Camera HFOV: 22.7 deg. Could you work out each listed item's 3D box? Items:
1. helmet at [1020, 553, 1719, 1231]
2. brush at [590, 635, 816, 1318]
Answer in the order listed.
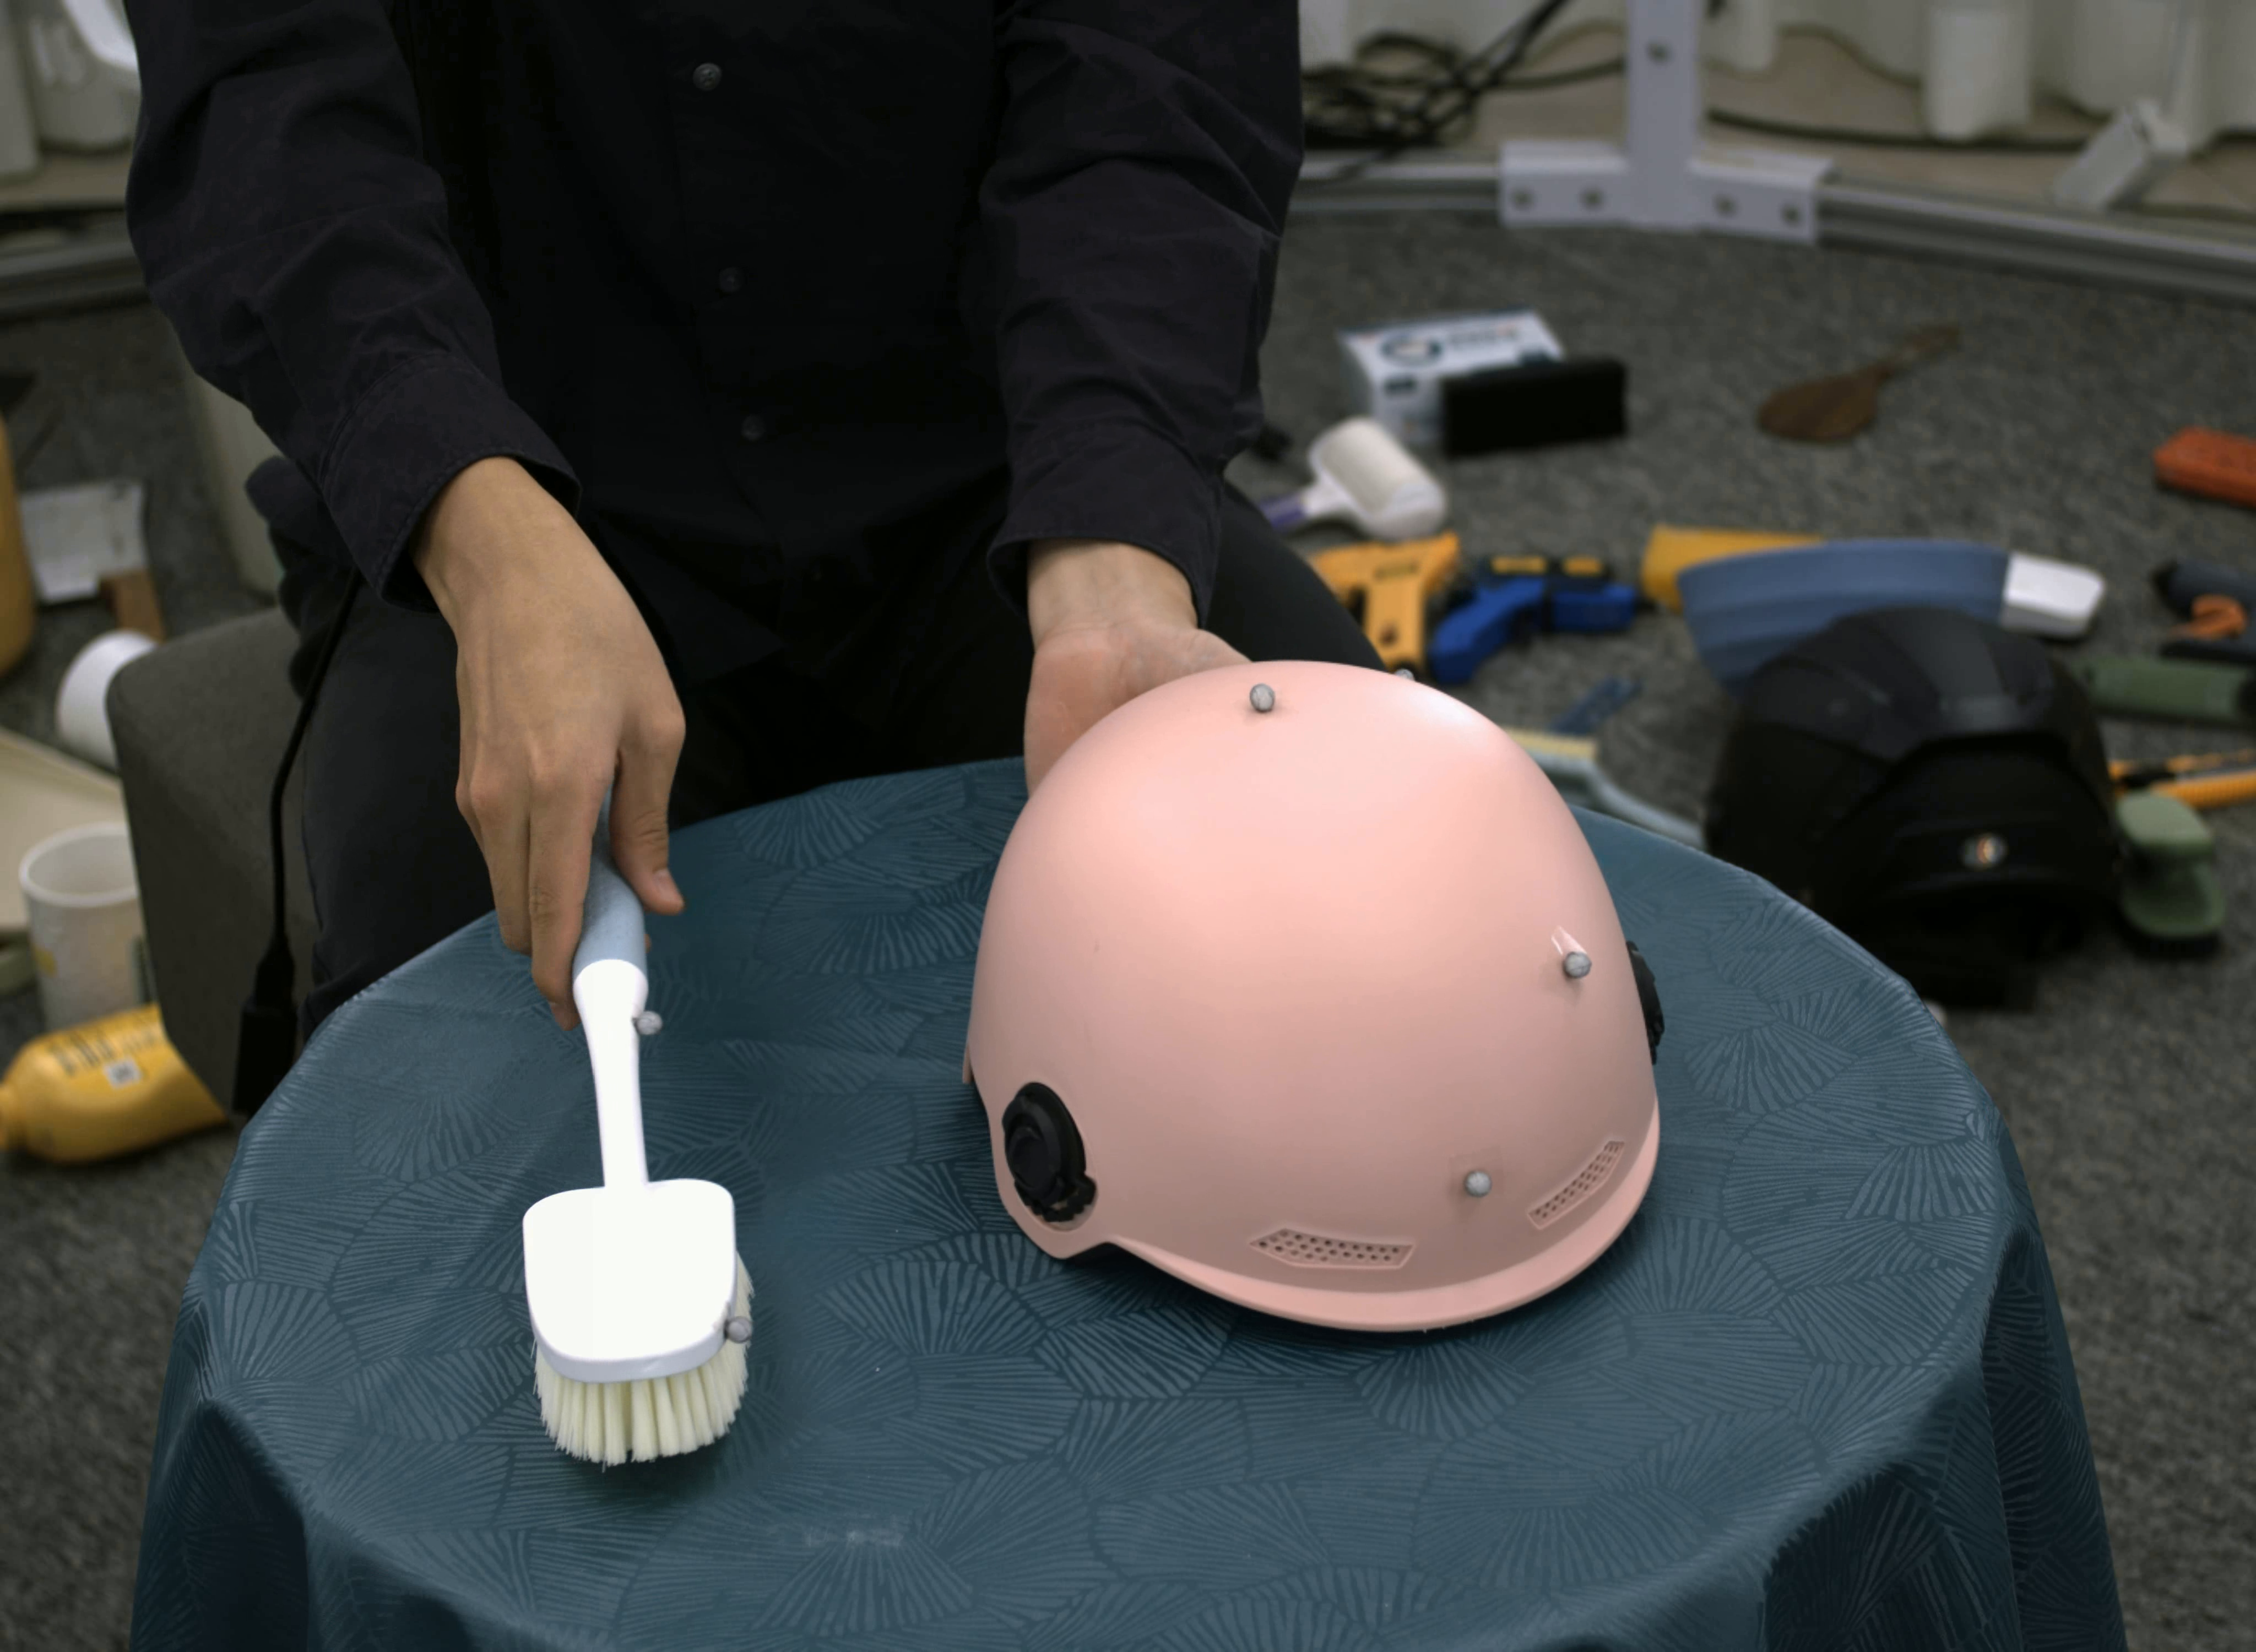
[{"bbox_3d":[0.080,0.003,1.865,0.235,0.157,0.268,-13,33,-20],"label":"helmet"},{"bbox_3d":[-0.140,0.058,1.859,0.083,0.083,0.331,26,28,-23],"label":"brush"}]
